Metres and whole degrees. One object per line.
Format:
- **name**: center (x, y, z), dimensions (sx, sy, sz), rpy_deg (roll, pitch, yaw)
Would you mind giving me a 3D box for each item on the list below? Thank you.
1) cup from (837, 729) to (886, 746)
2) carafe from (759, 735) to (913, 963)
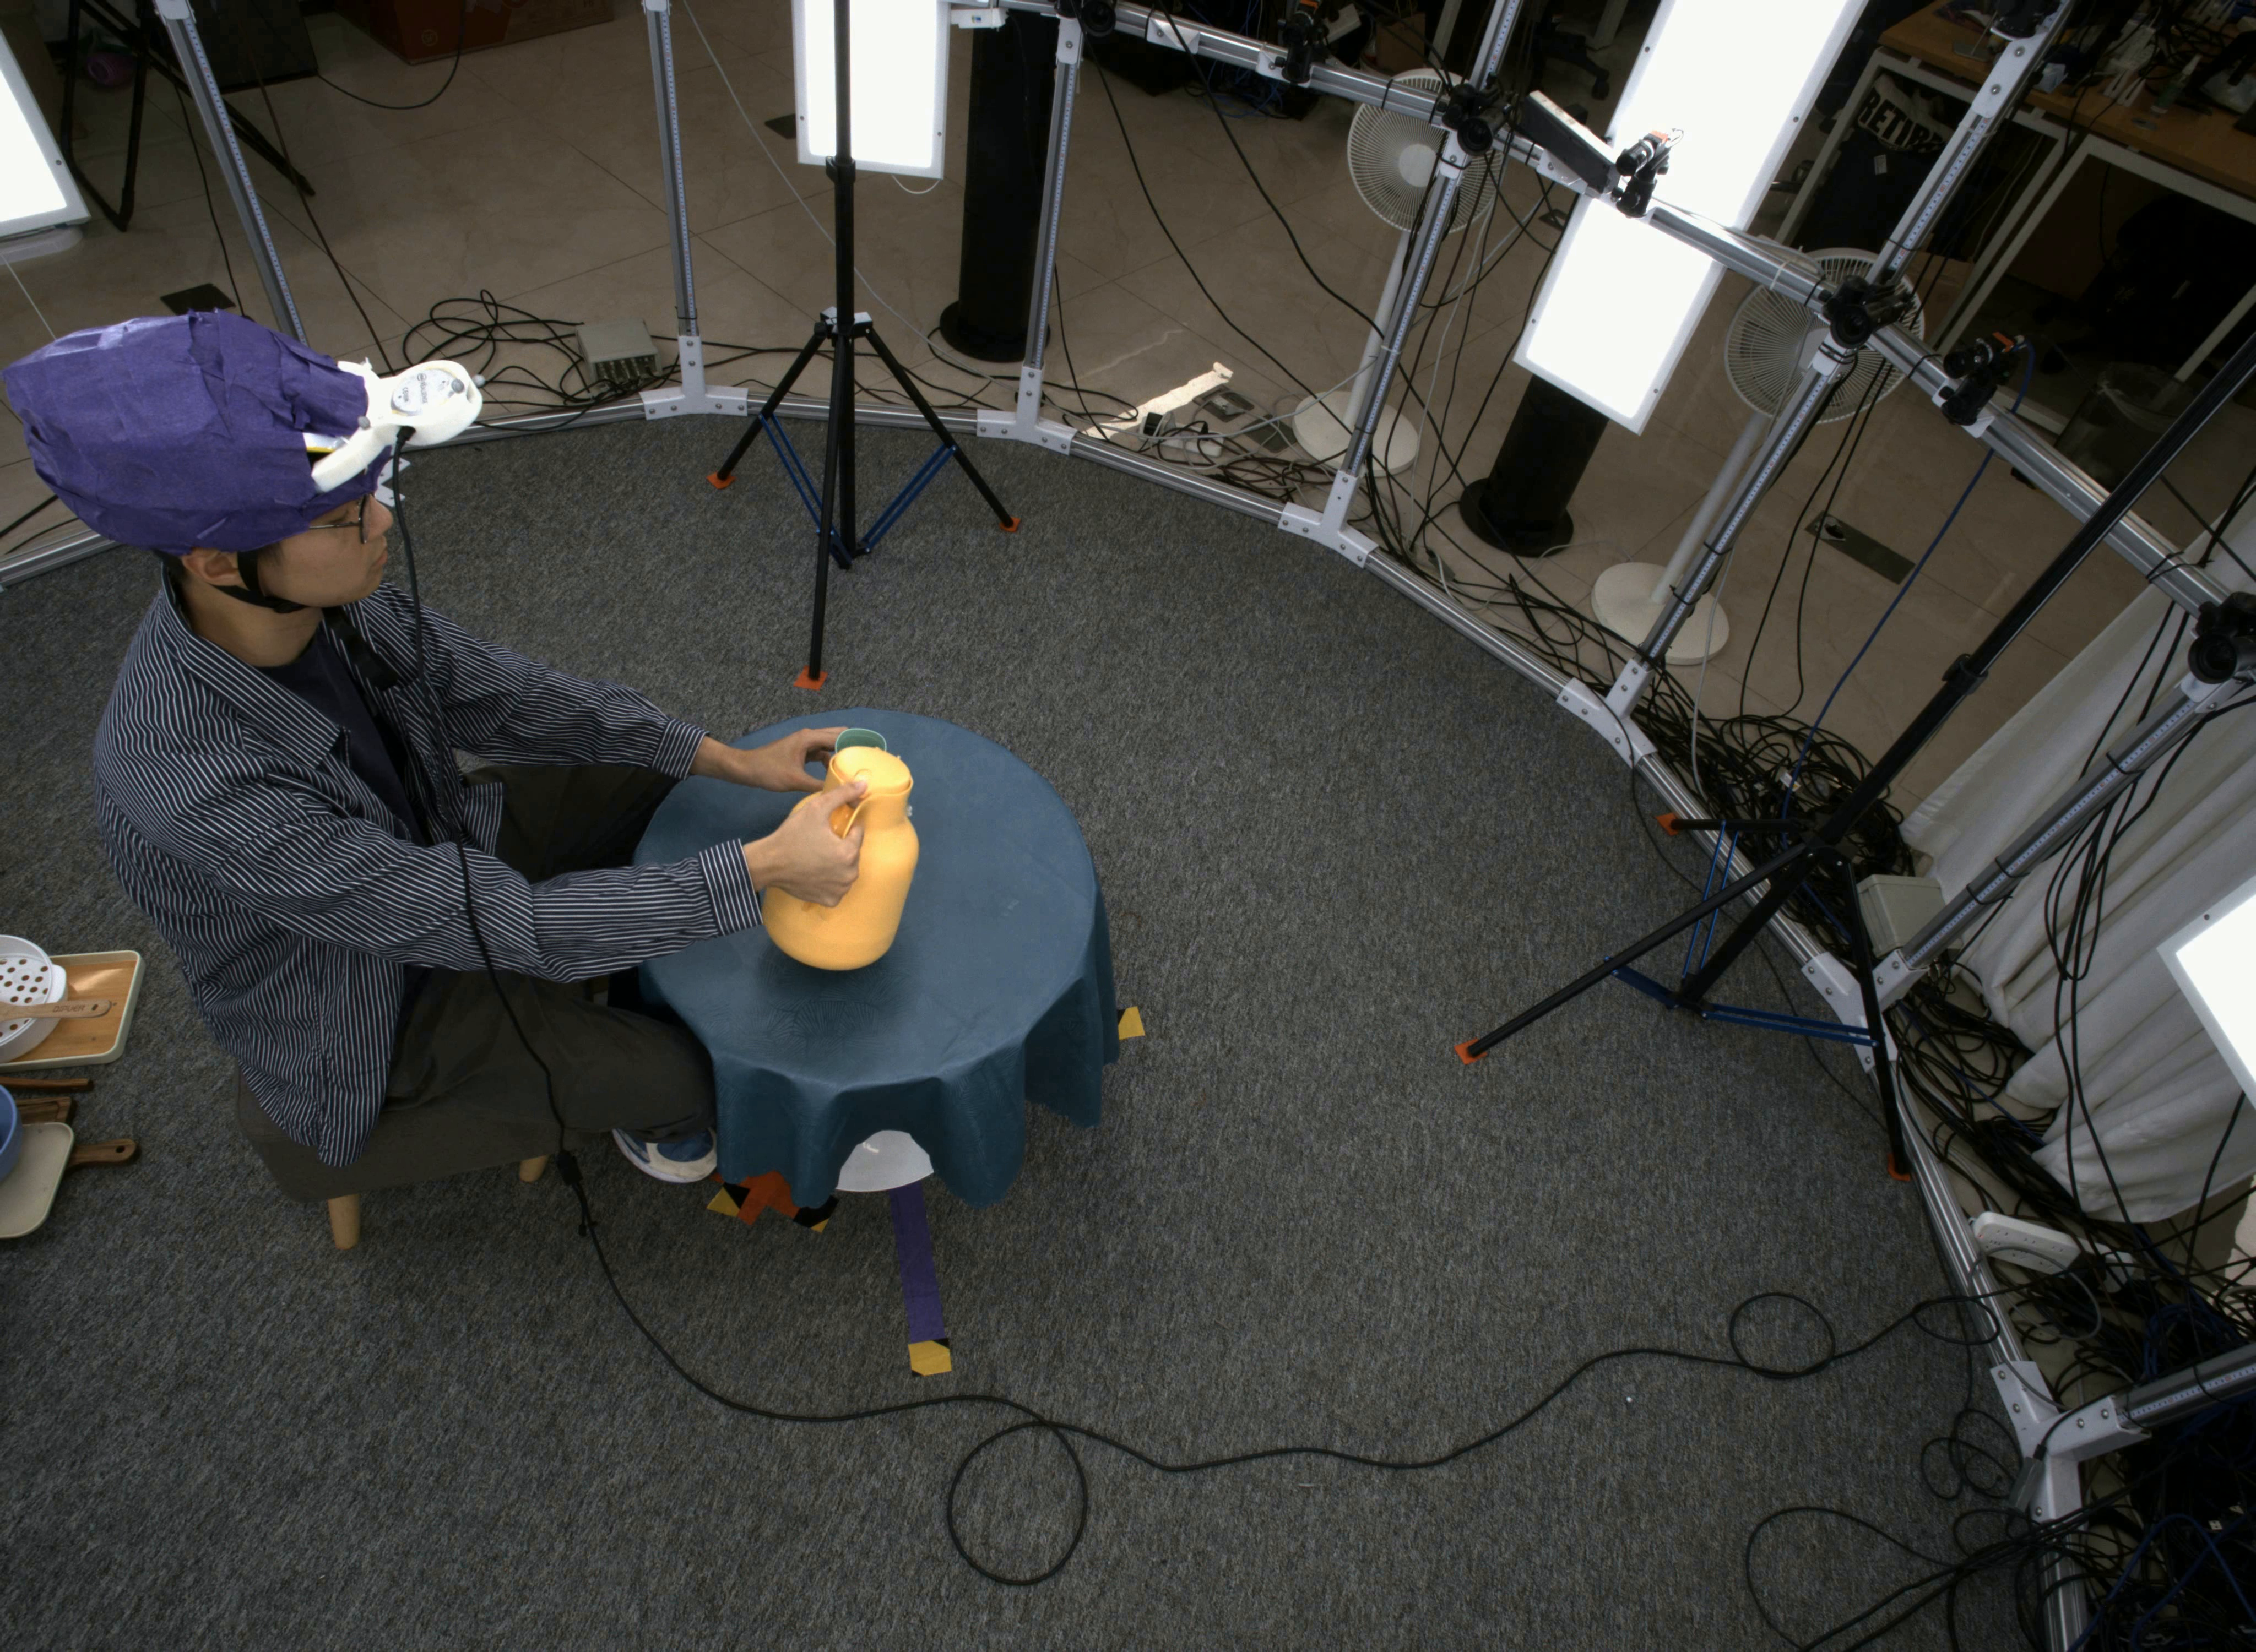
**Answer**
- **cup**: center (-0.347, -0.056, 1.666), dimensions (0.066, 0.135, 0.065), rpy_deg (8, 49, -8)
- **carafe**: center (-0.344, 0.030, 1.531), dimensions (0.163, 0.265, 0.199), rpy_deg (19, 27, -3)
